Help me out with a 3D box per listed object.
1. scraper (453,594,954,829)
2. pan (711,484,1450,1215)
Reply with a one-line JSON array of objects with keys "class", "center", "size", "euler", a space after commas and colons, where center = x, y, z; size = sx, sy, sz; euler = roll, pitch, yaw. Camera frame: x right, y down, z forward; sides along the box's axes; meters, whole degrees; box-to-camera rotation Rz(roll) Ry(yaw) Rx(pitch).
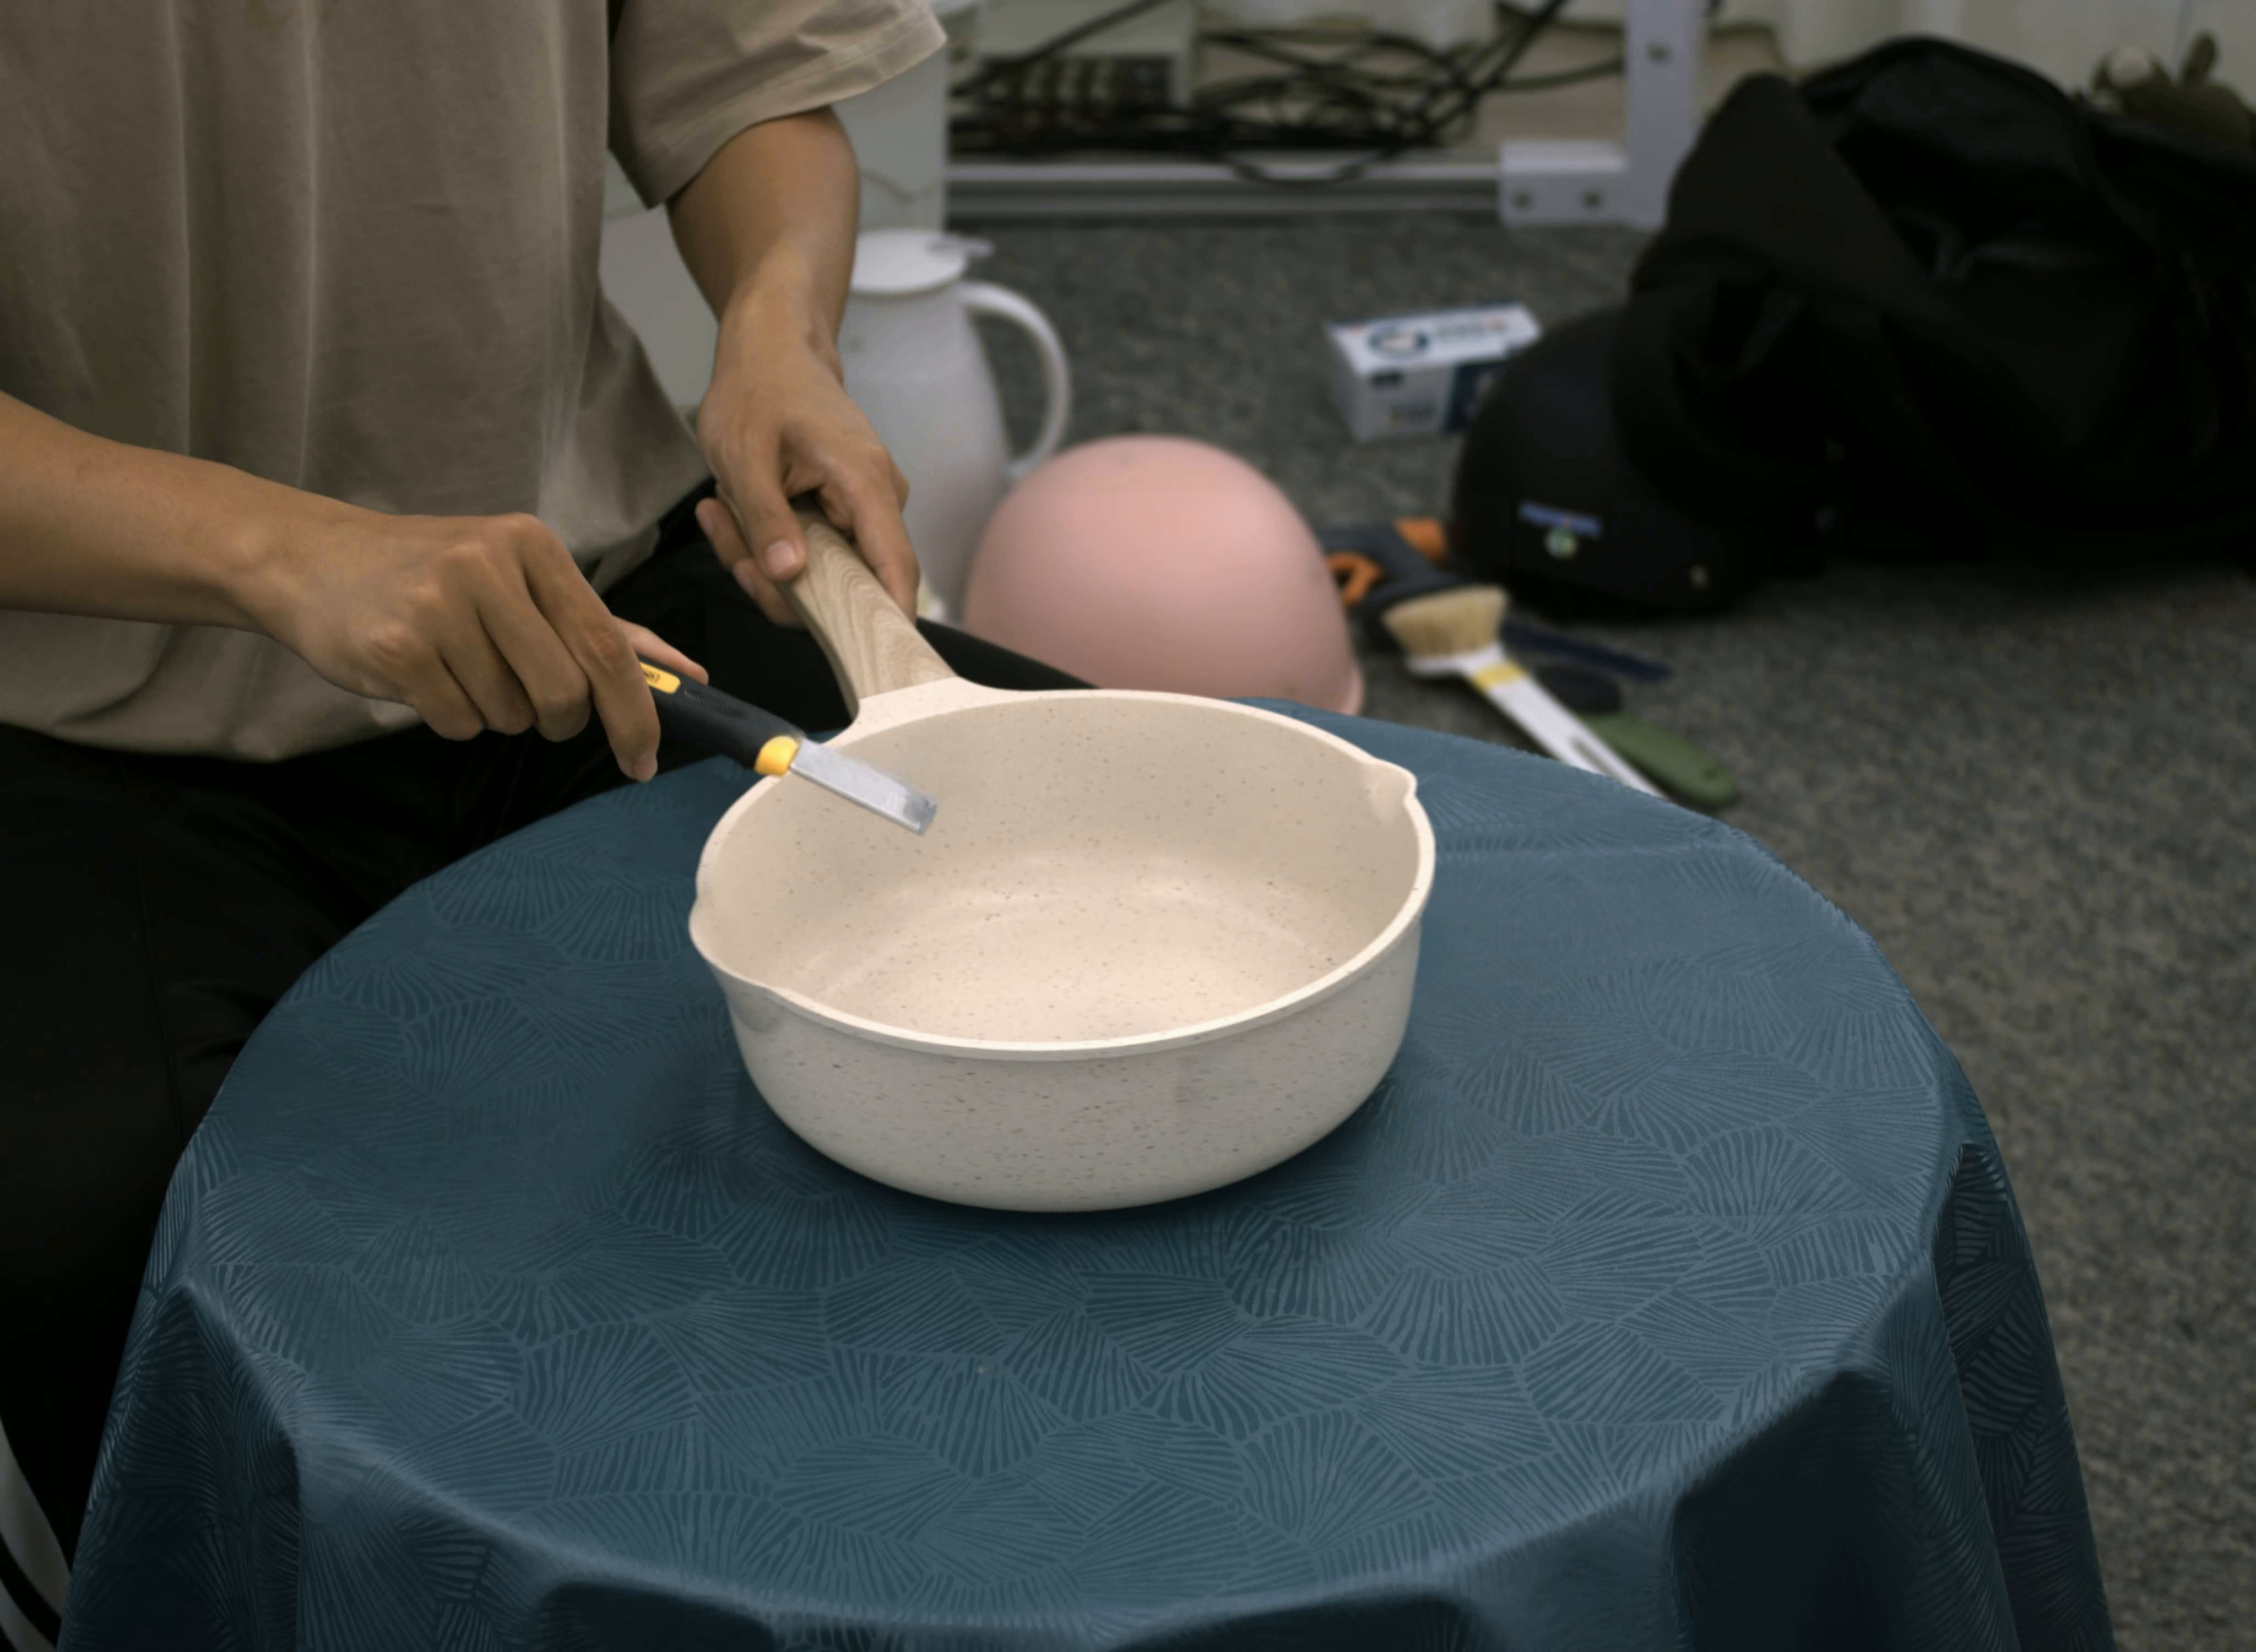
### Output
[{"class": "scraper", "center": [-0.140, -0.038, 1.840], "size": [0.170, 0.014, 0.039], "euler": [21, 35, 0]}, {"class": "pan", "center": [-0.051, 0.002, 1.994], "size": [0.264, 0.101, 0.438], "euler": [-16, 30, -19]}]
